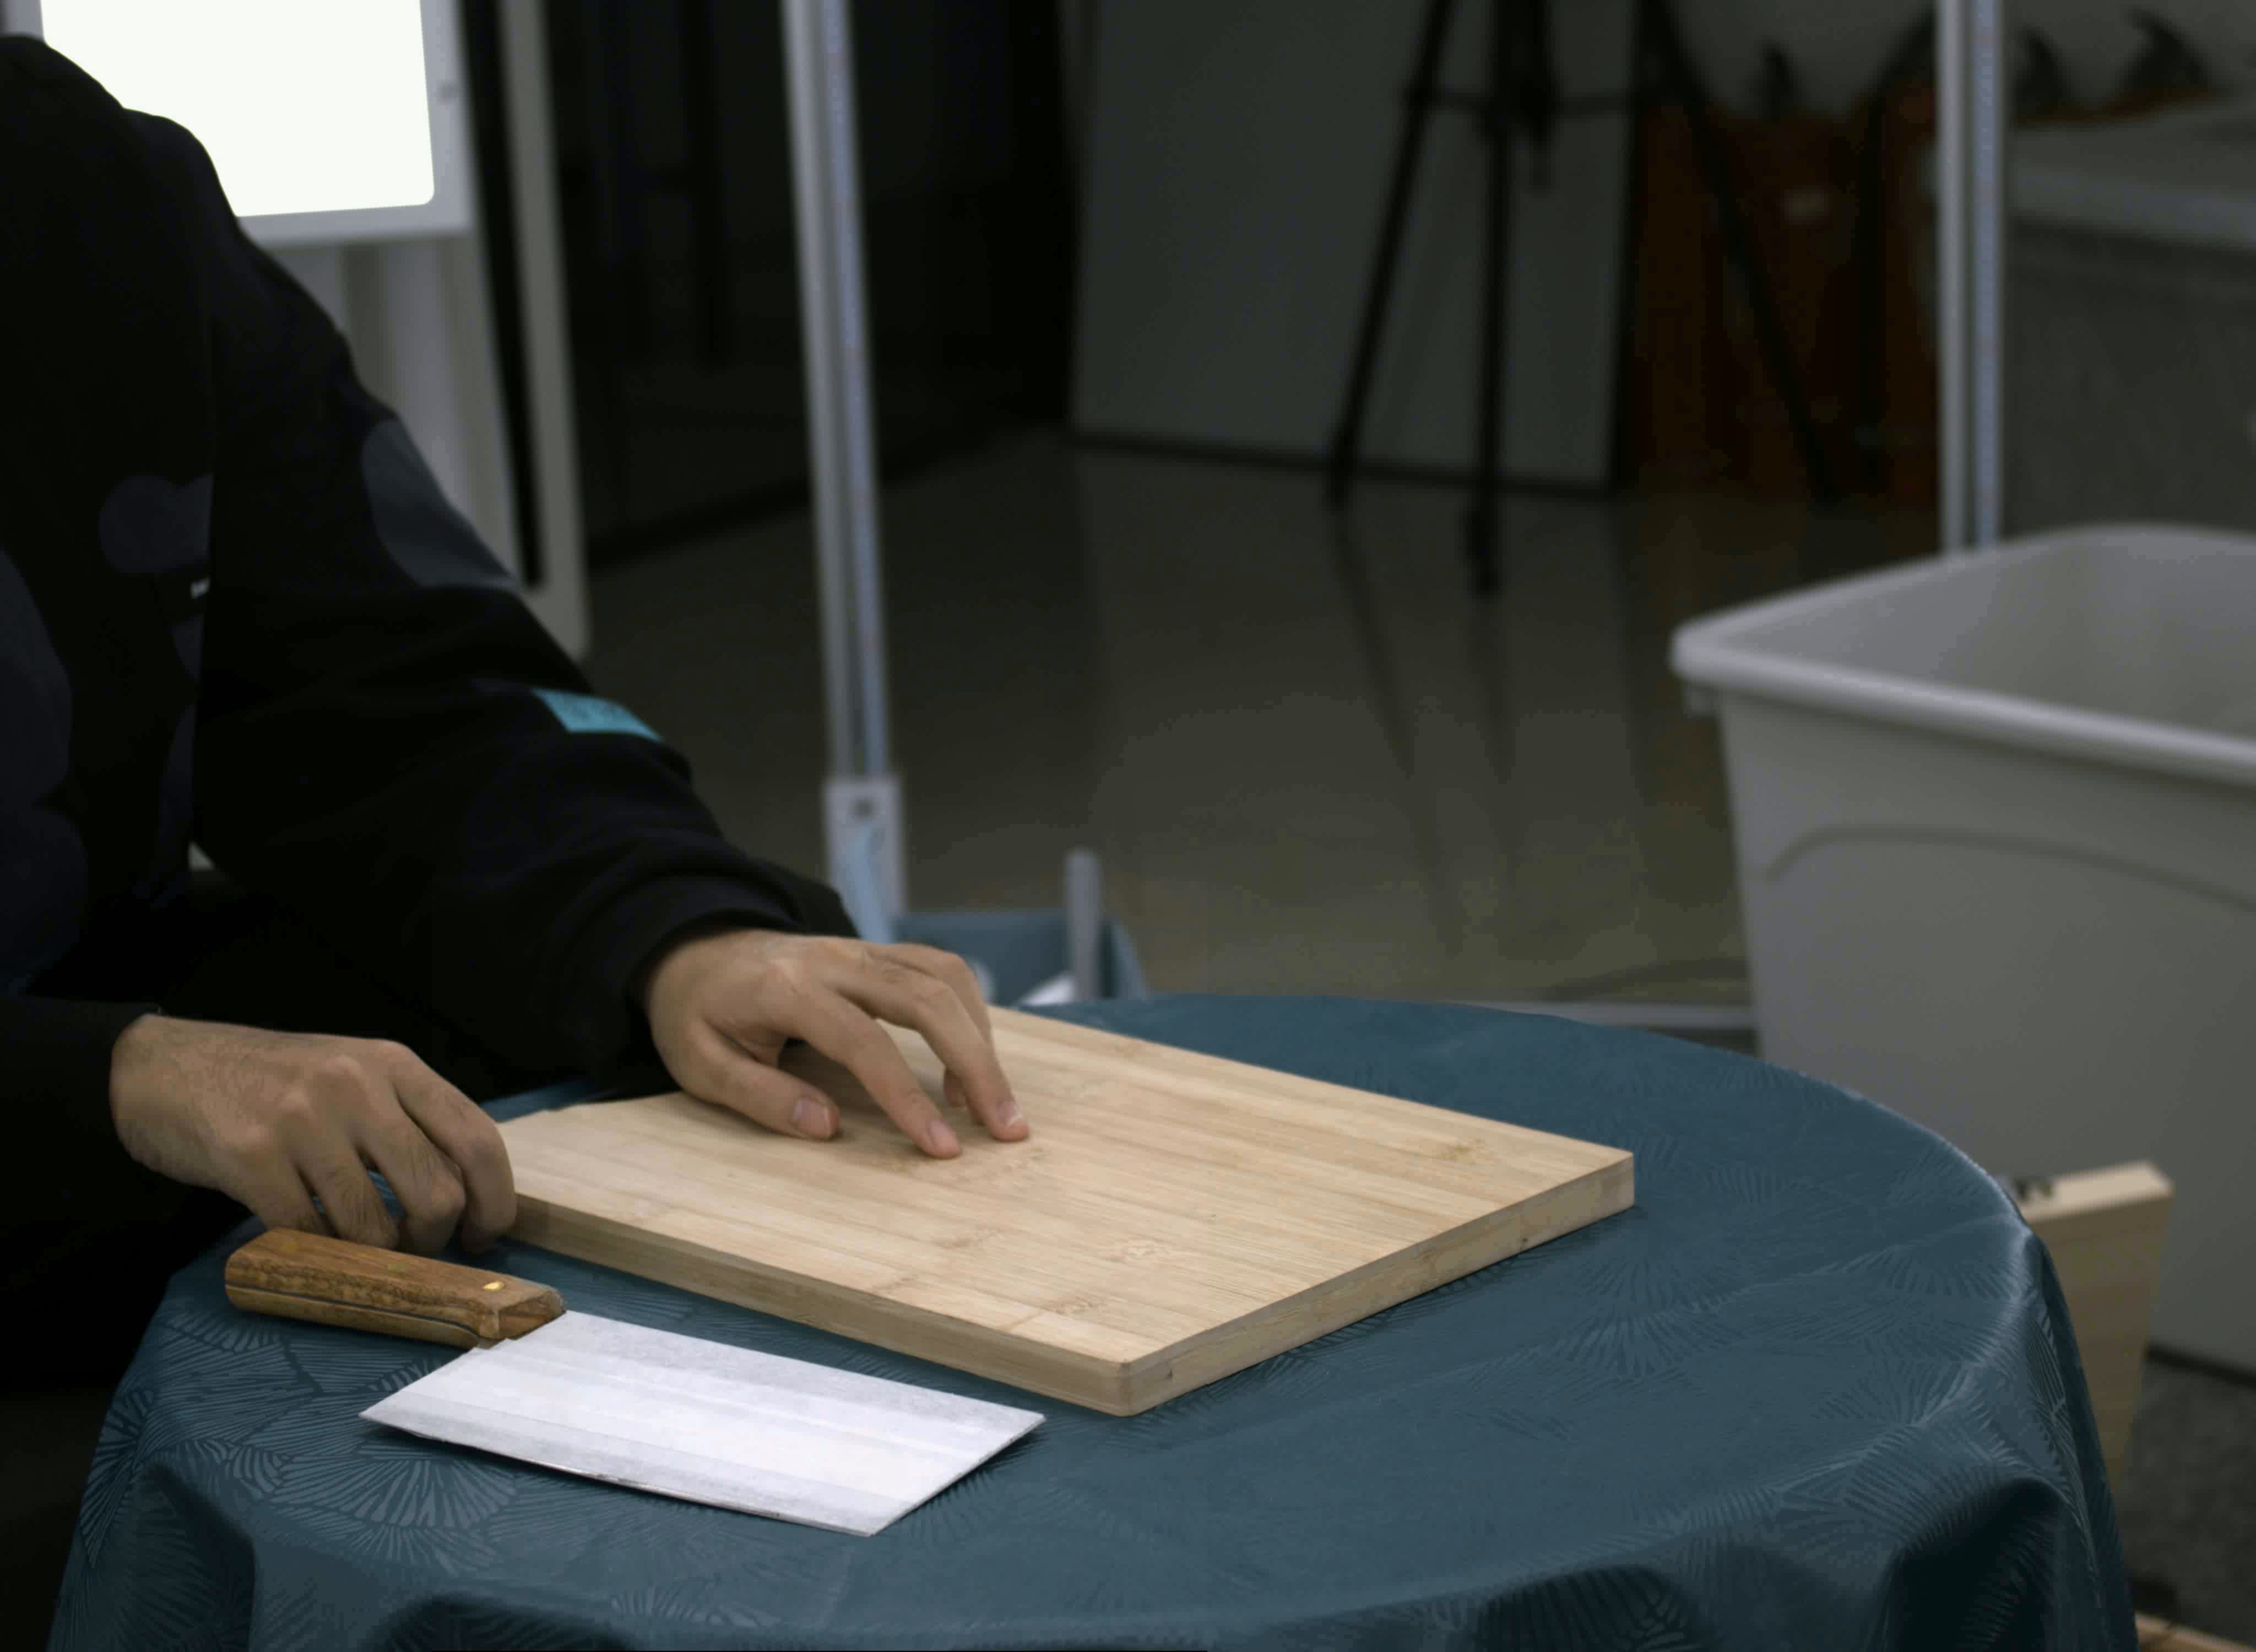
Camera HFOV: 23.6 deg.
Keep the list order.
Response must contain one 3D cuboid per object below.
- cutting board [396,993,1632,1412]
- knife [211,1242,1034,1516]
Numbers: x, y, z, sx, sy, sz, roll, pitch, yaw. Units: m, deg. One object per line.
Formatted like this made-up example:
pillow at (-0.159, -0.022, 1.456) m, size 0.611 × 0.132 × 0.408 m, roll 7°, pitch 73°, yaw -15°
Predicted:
cutting board at (-0.041, 0.117, 1.765) m, size 0.352 × 0.024 × 0.245 m, roll 9°, pitch 19°, yaw 44°
knife at (-0.171, 0.166, 1.608) m, size 0.307 × 0.021 × 0.091 m, roll 7°, pitch 22°, yaw 35°
